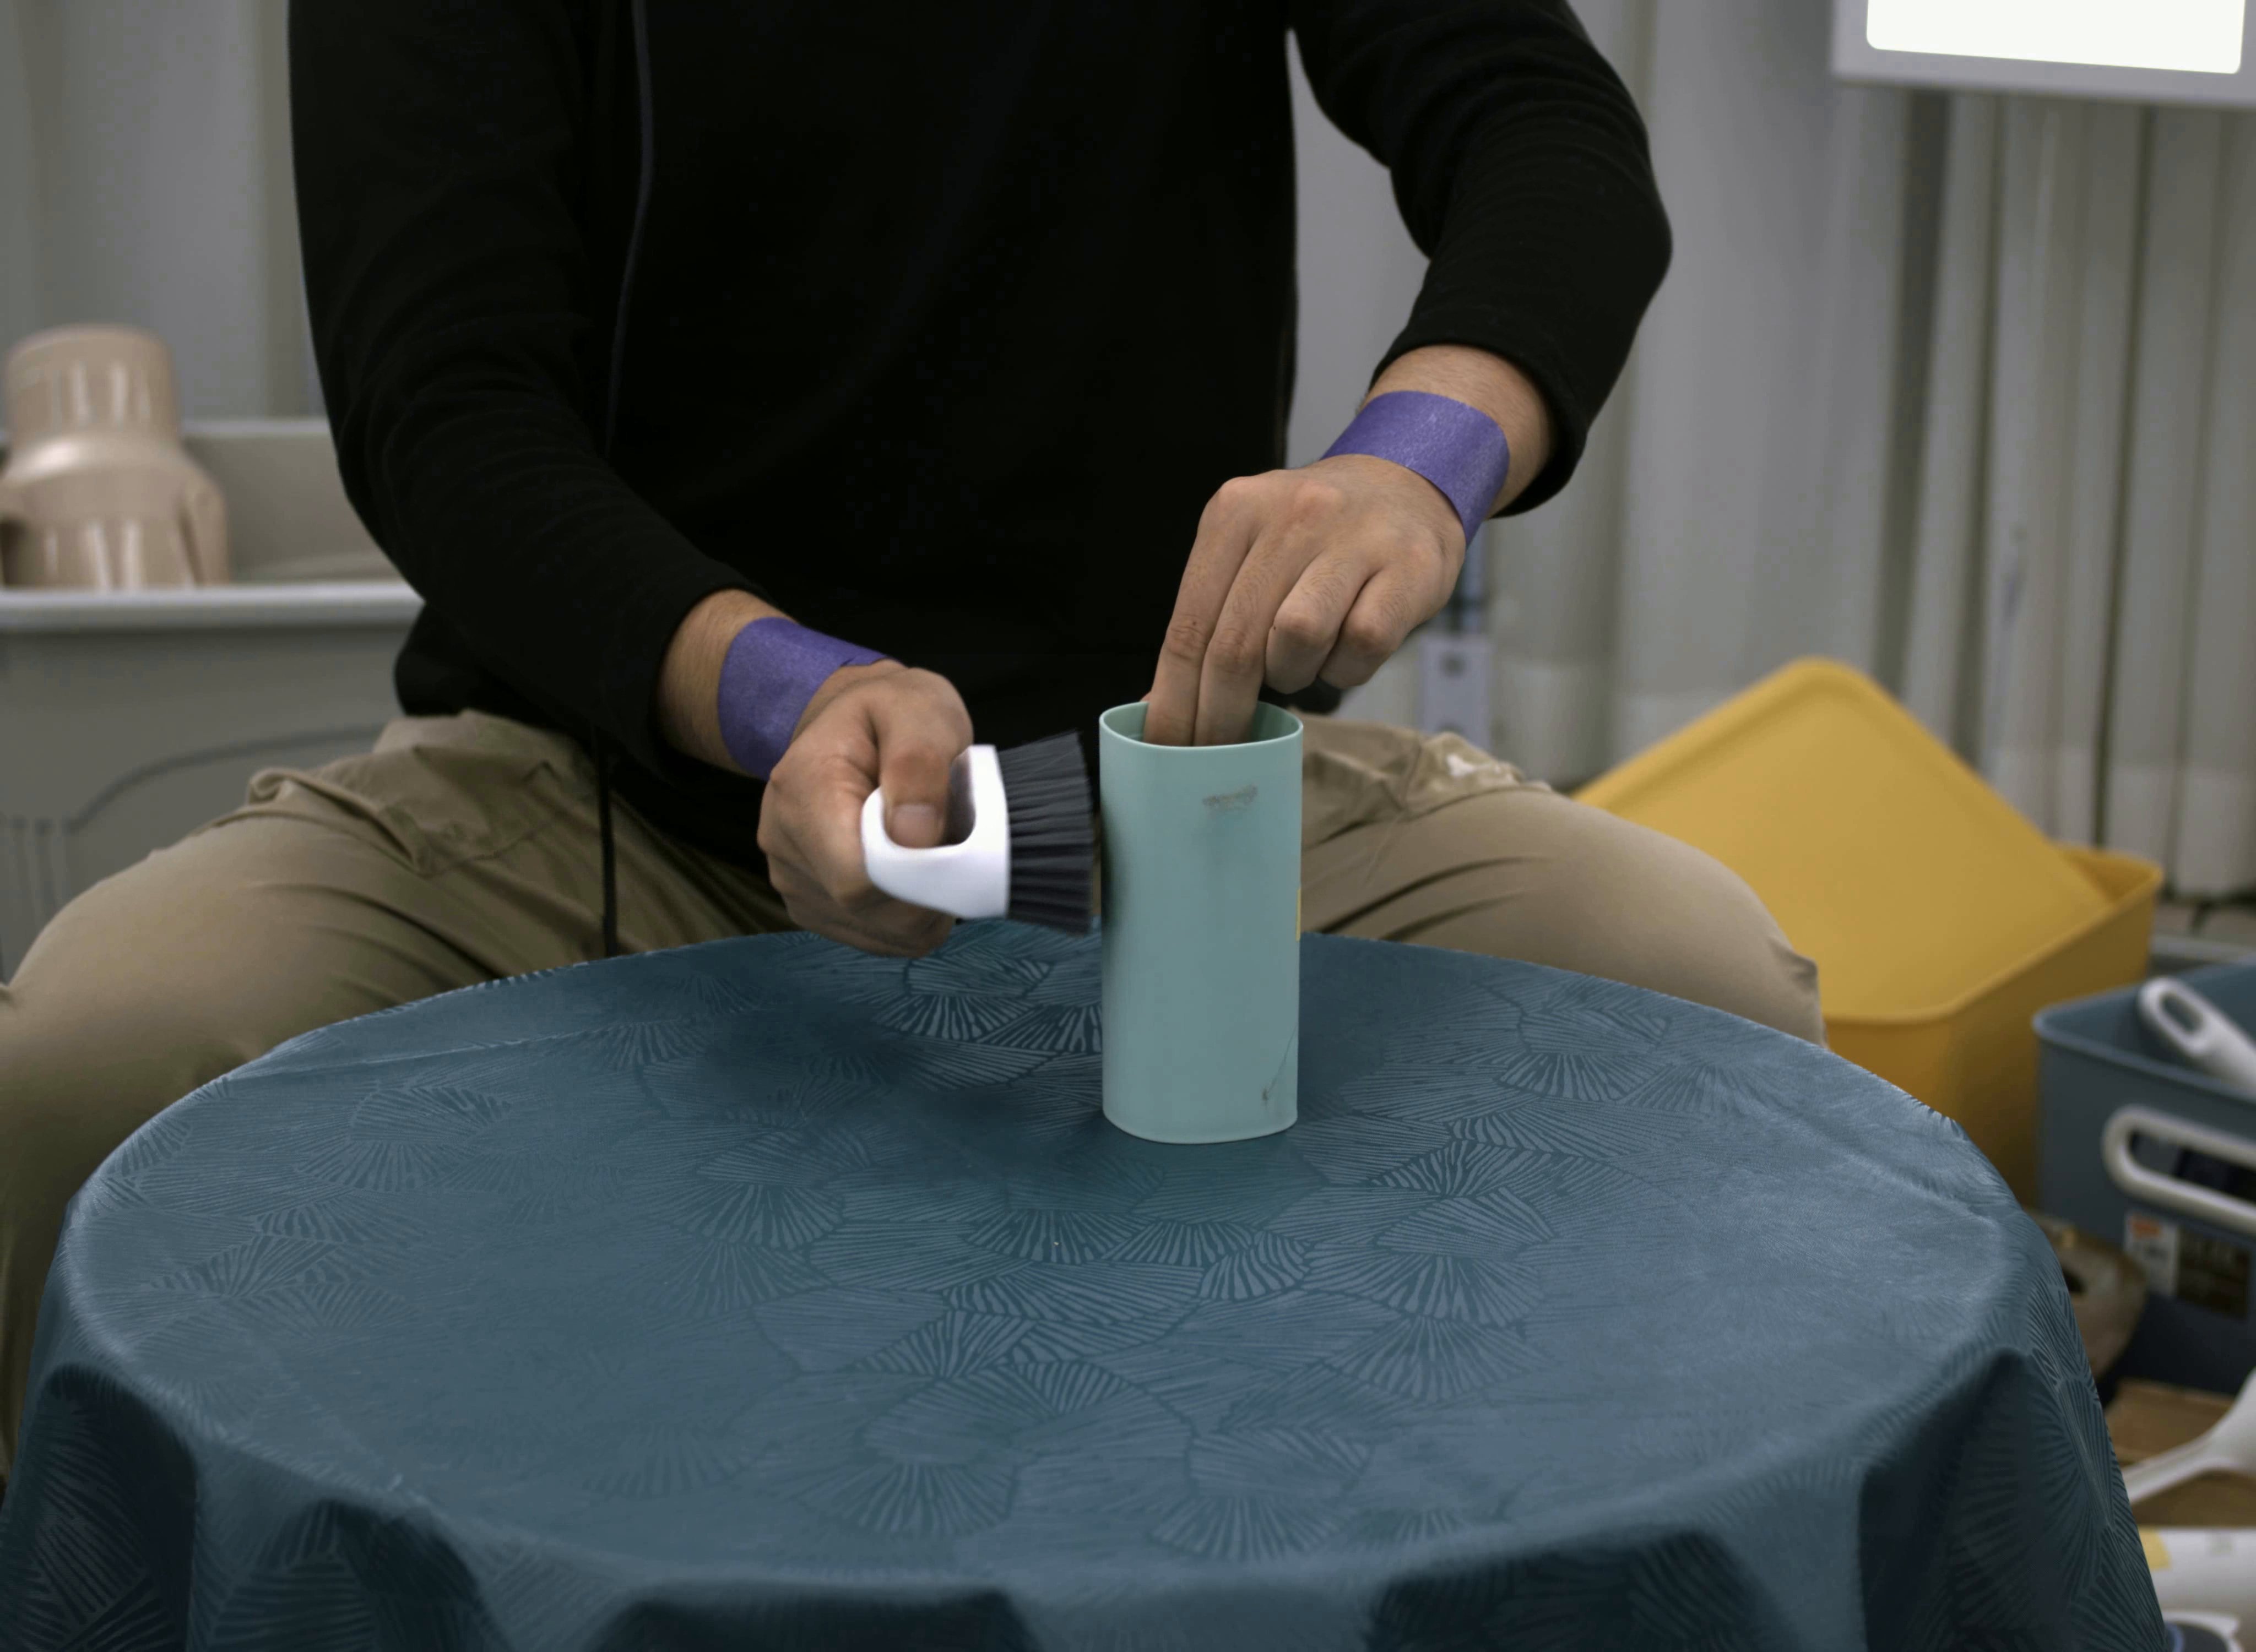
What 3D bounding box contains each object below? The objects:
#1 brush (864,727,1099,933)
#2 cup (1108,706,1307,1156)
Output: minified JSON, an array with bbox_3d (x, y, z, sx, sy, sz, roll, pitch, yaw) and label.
[{"bbox_3d":[-0.049,0.001,1.688,0.072,0.051,0.098,-1,21,-6],"label":"brush"},{"bbox_3d":[0.024,0.033,1.677,0.066,0.133,0.066,0,17,1],"label":"cup"}]
